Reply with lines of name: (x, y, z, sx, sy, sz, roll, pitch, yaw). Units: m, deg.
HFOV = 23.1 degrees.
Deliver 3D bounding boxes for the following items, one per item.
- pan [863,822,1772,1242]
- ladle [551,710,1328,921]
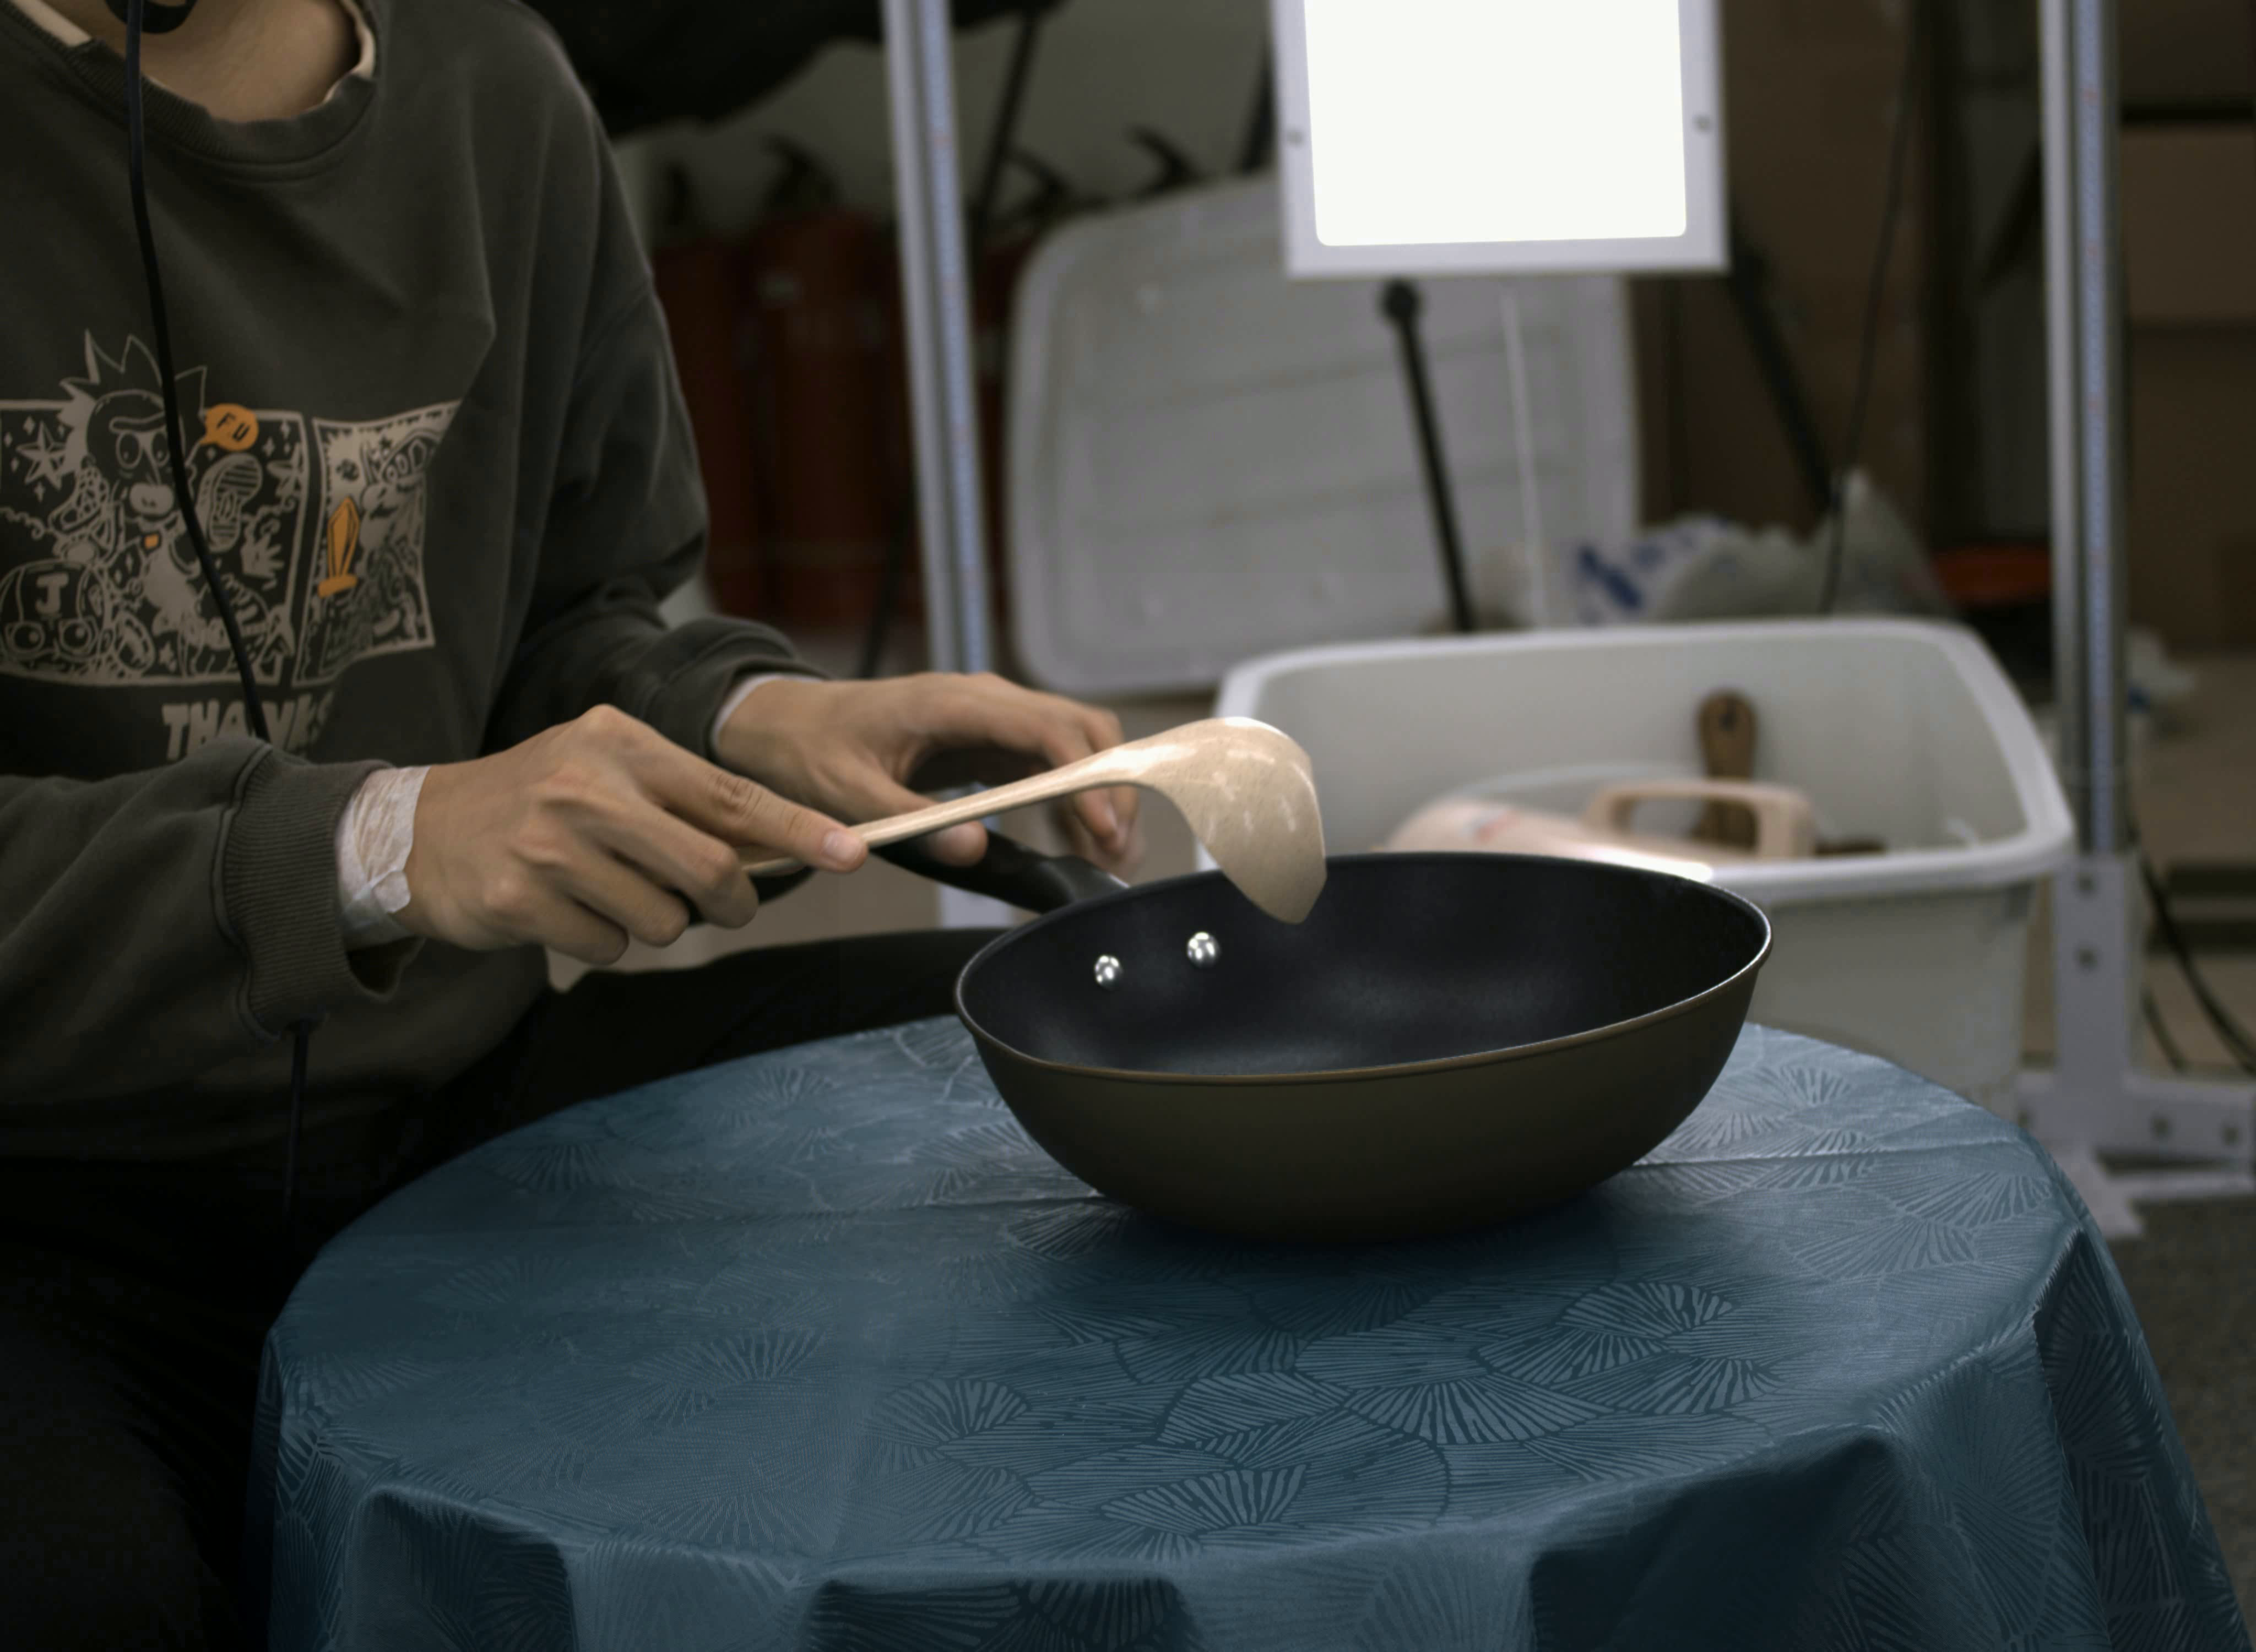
pan: (0.030, 0.068, 1.953, 0.281, 0.087, 0.472, -14, 15, -31)
ladle: (-0.059, 0.018, 1.816, 0.256, 0.073, 0.072, -12, 31, 11)
